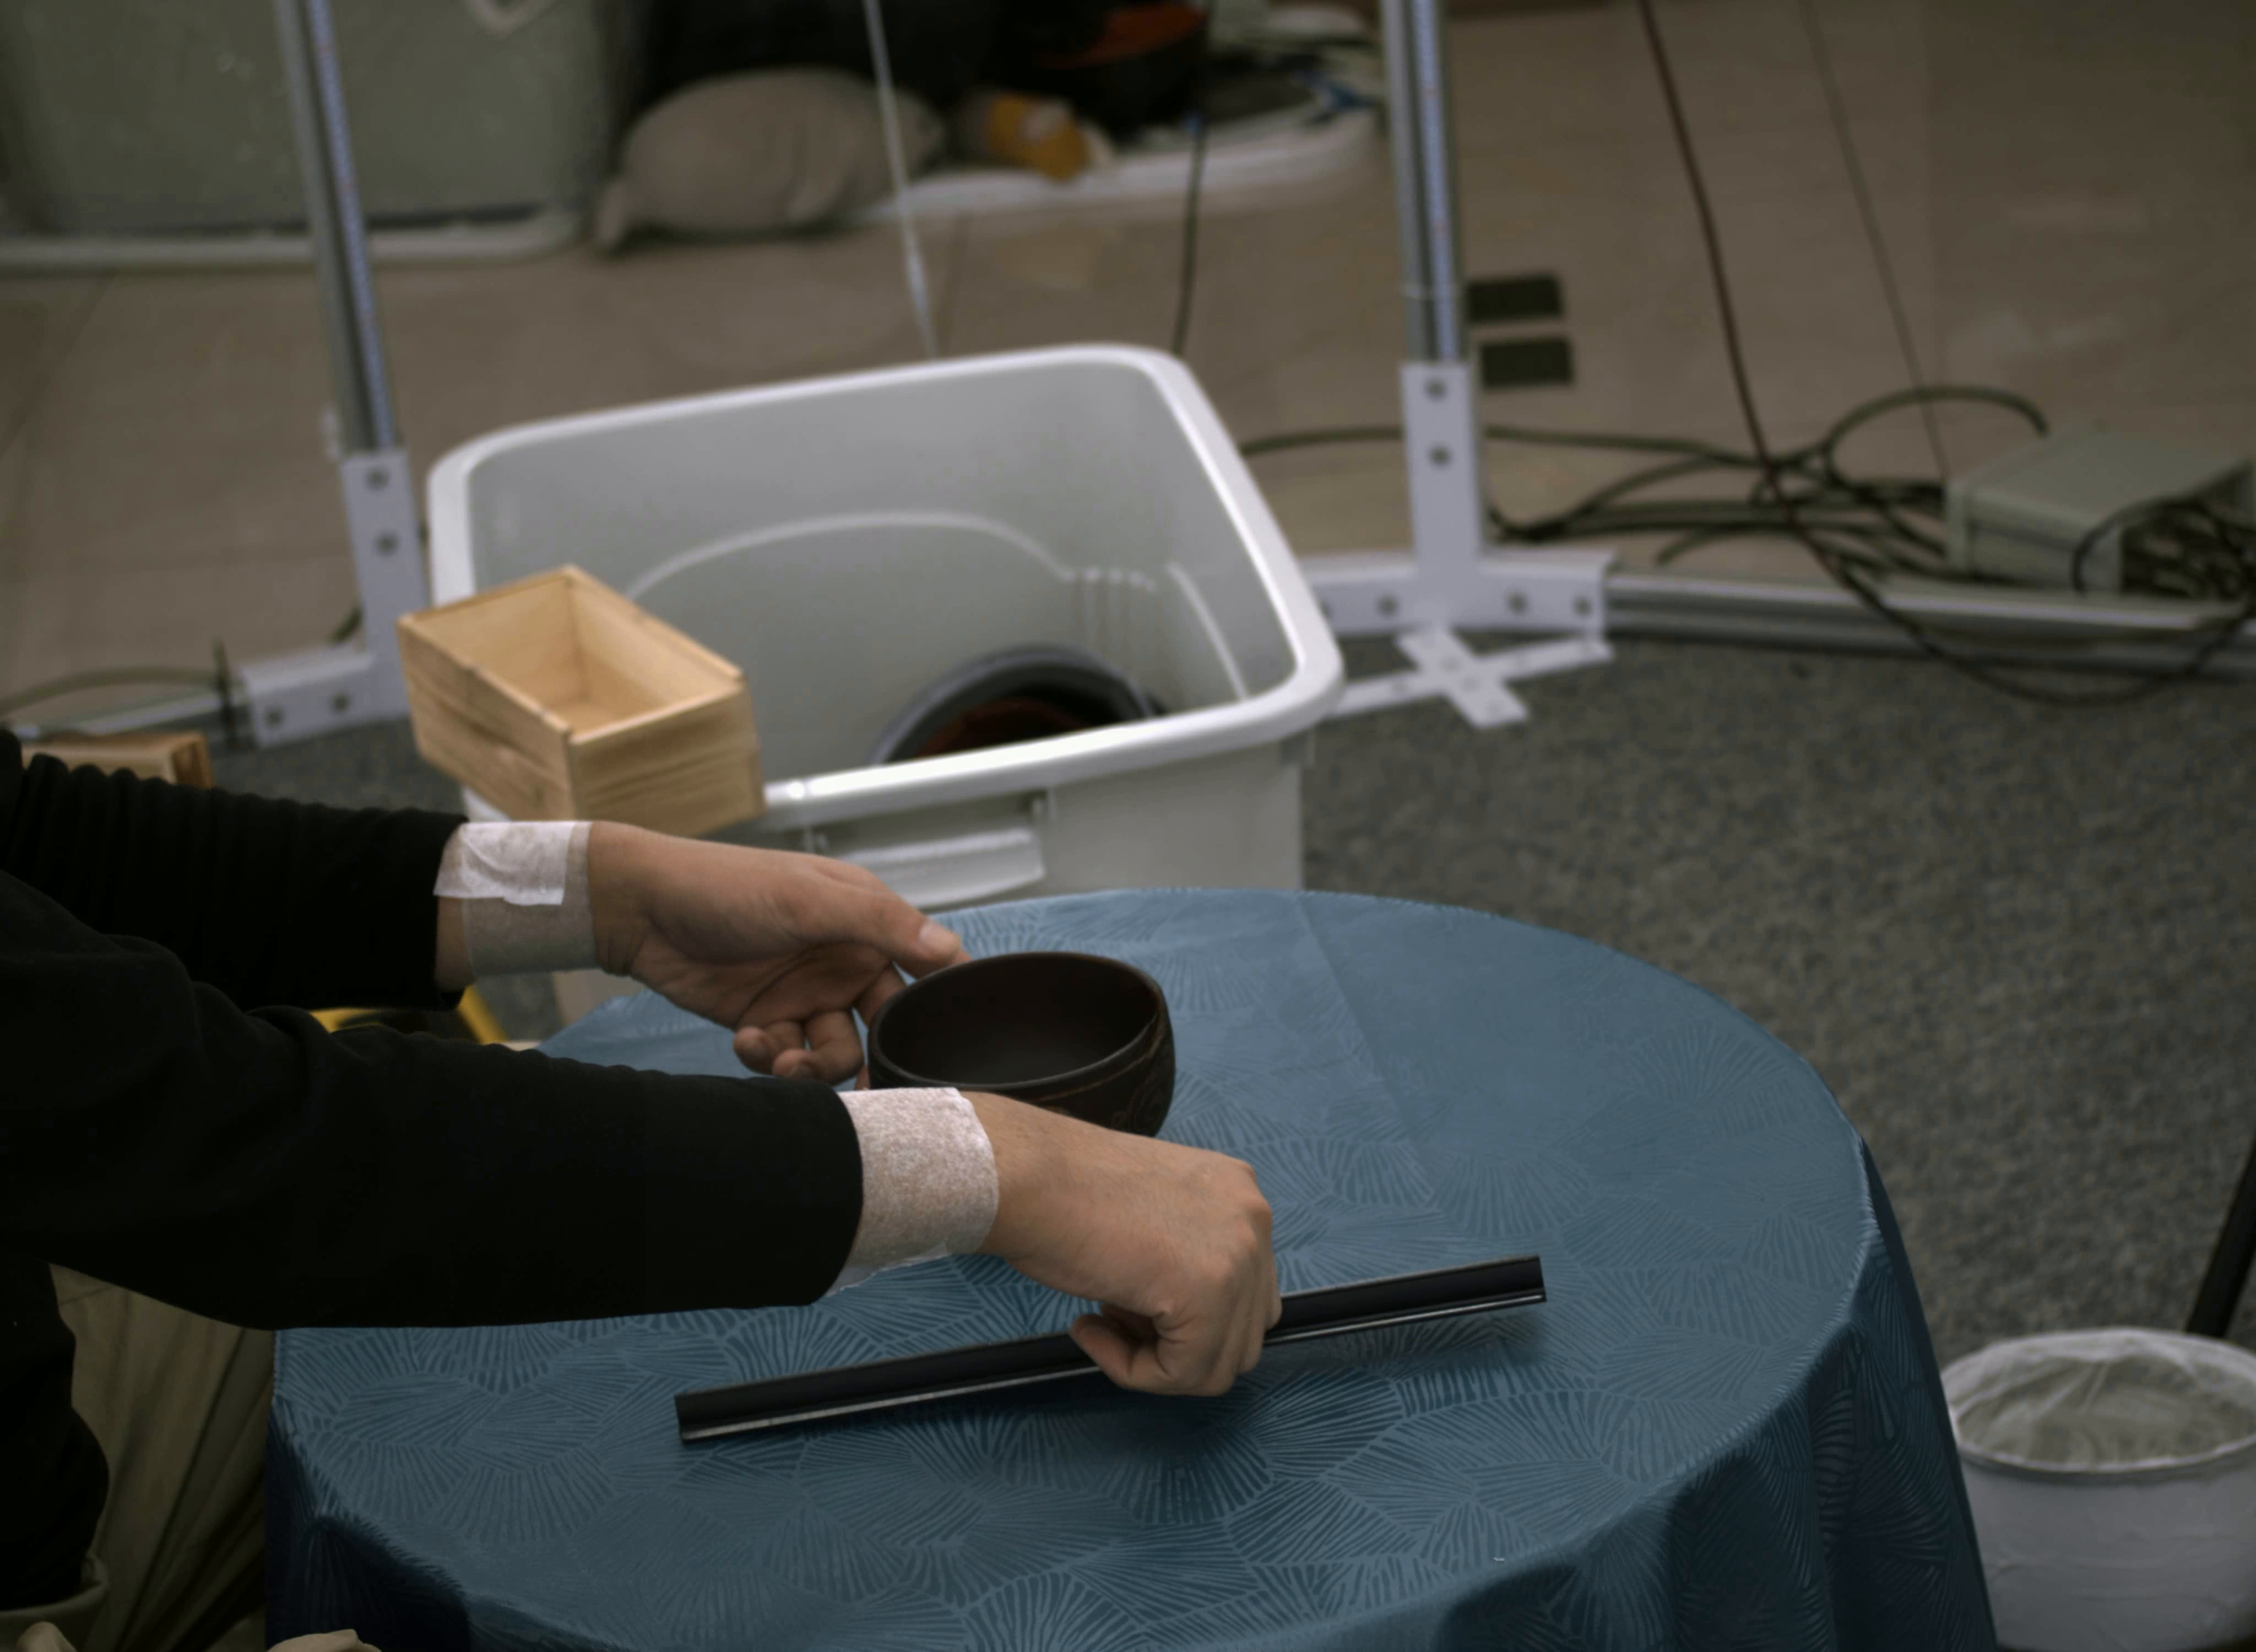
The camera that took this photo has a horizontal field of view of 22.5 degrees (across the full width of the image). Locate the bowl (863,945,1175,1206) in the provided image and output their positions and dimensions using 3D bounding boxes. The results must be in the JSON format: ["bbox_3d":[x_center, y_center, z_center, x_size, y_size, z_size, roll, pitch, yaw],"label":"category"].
[{"bbox_3d":[-0.040,0.101,2.151,0.118,0.071,0.116,-5,25,2],"label":"bowl"}]

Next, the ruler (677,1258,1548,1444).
[{"bbox_3d":[-0.007,0.181,2.022,0.312,0.017,0.039,-9,20,1],"label":"ruler"}]
